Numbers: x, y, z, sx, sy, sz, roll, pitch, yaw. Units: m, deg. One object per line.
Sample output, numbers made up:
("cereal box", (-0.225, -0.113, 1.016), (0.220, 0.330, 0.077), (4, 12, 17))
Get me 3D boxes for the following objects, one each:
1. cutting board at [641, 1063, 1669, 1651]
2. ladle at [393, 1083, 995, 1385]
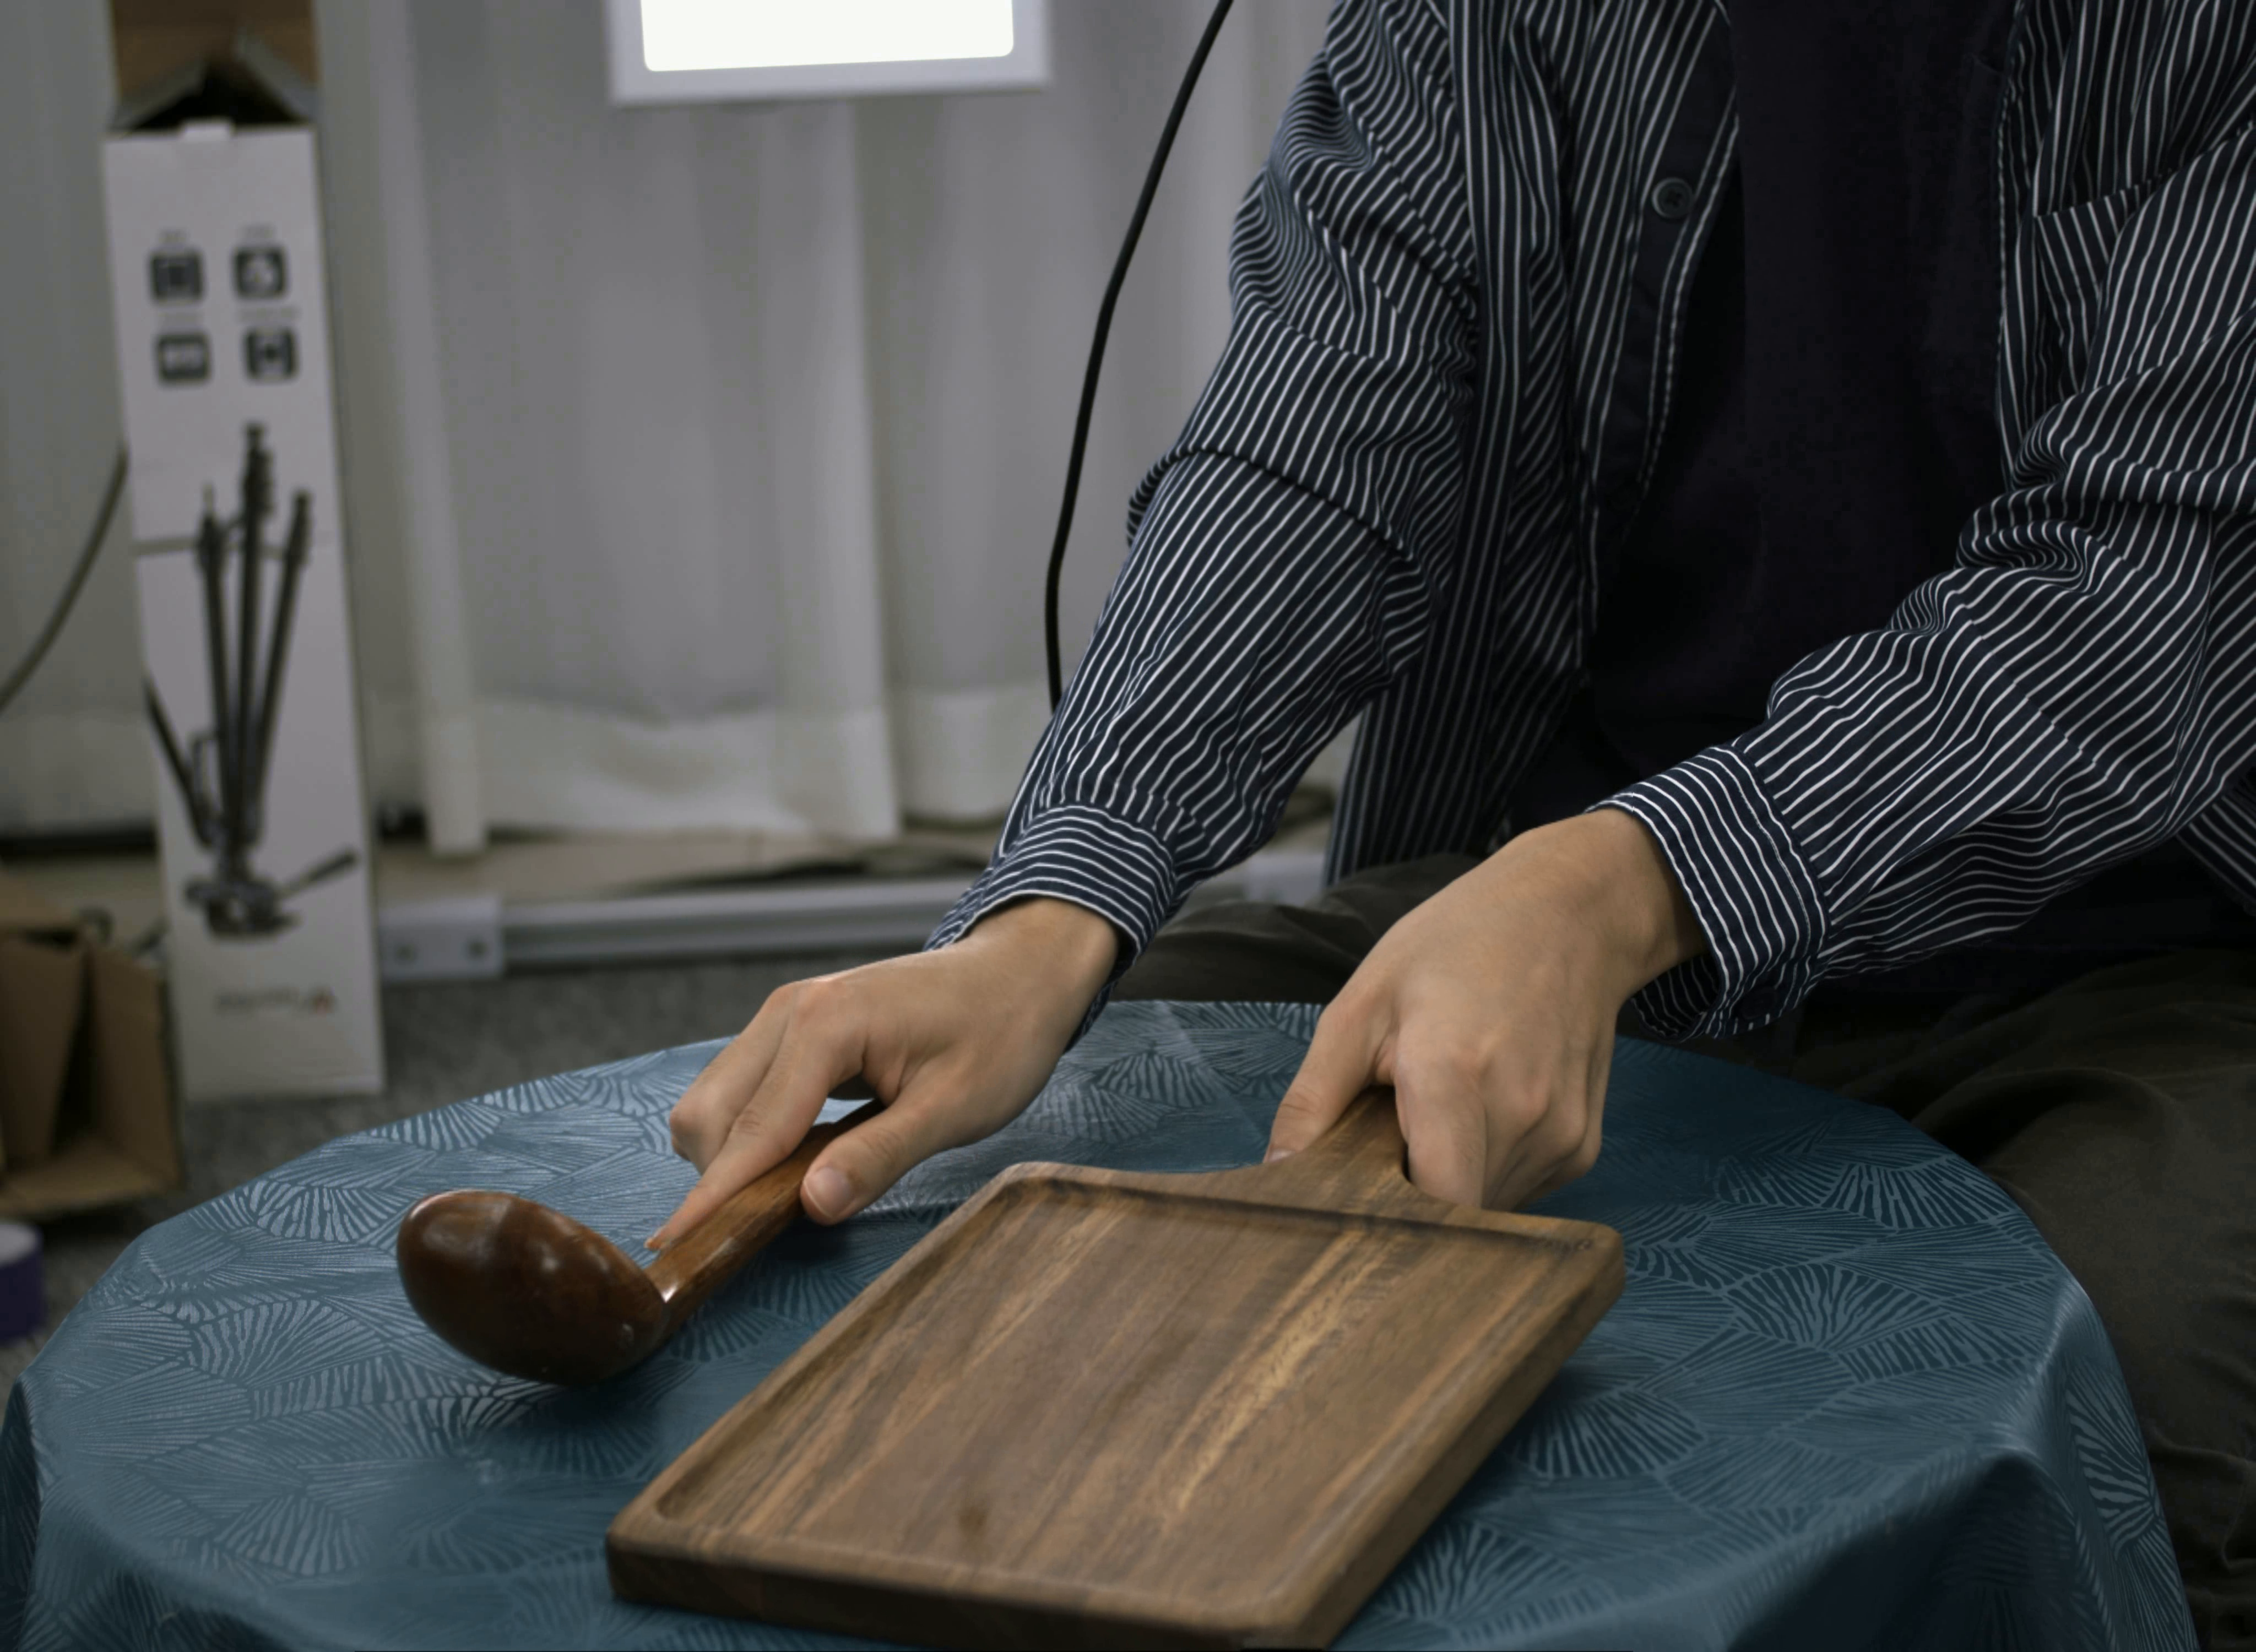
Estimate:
("cutting board", (0.034, 0.141, 1.511), (0.201, 0.023, 0.353), (5, 22, 26))
("ladle", (-0.120, 0.098, 1.638), (0.082, 0.076, 0.275), (11, 23, 27))
